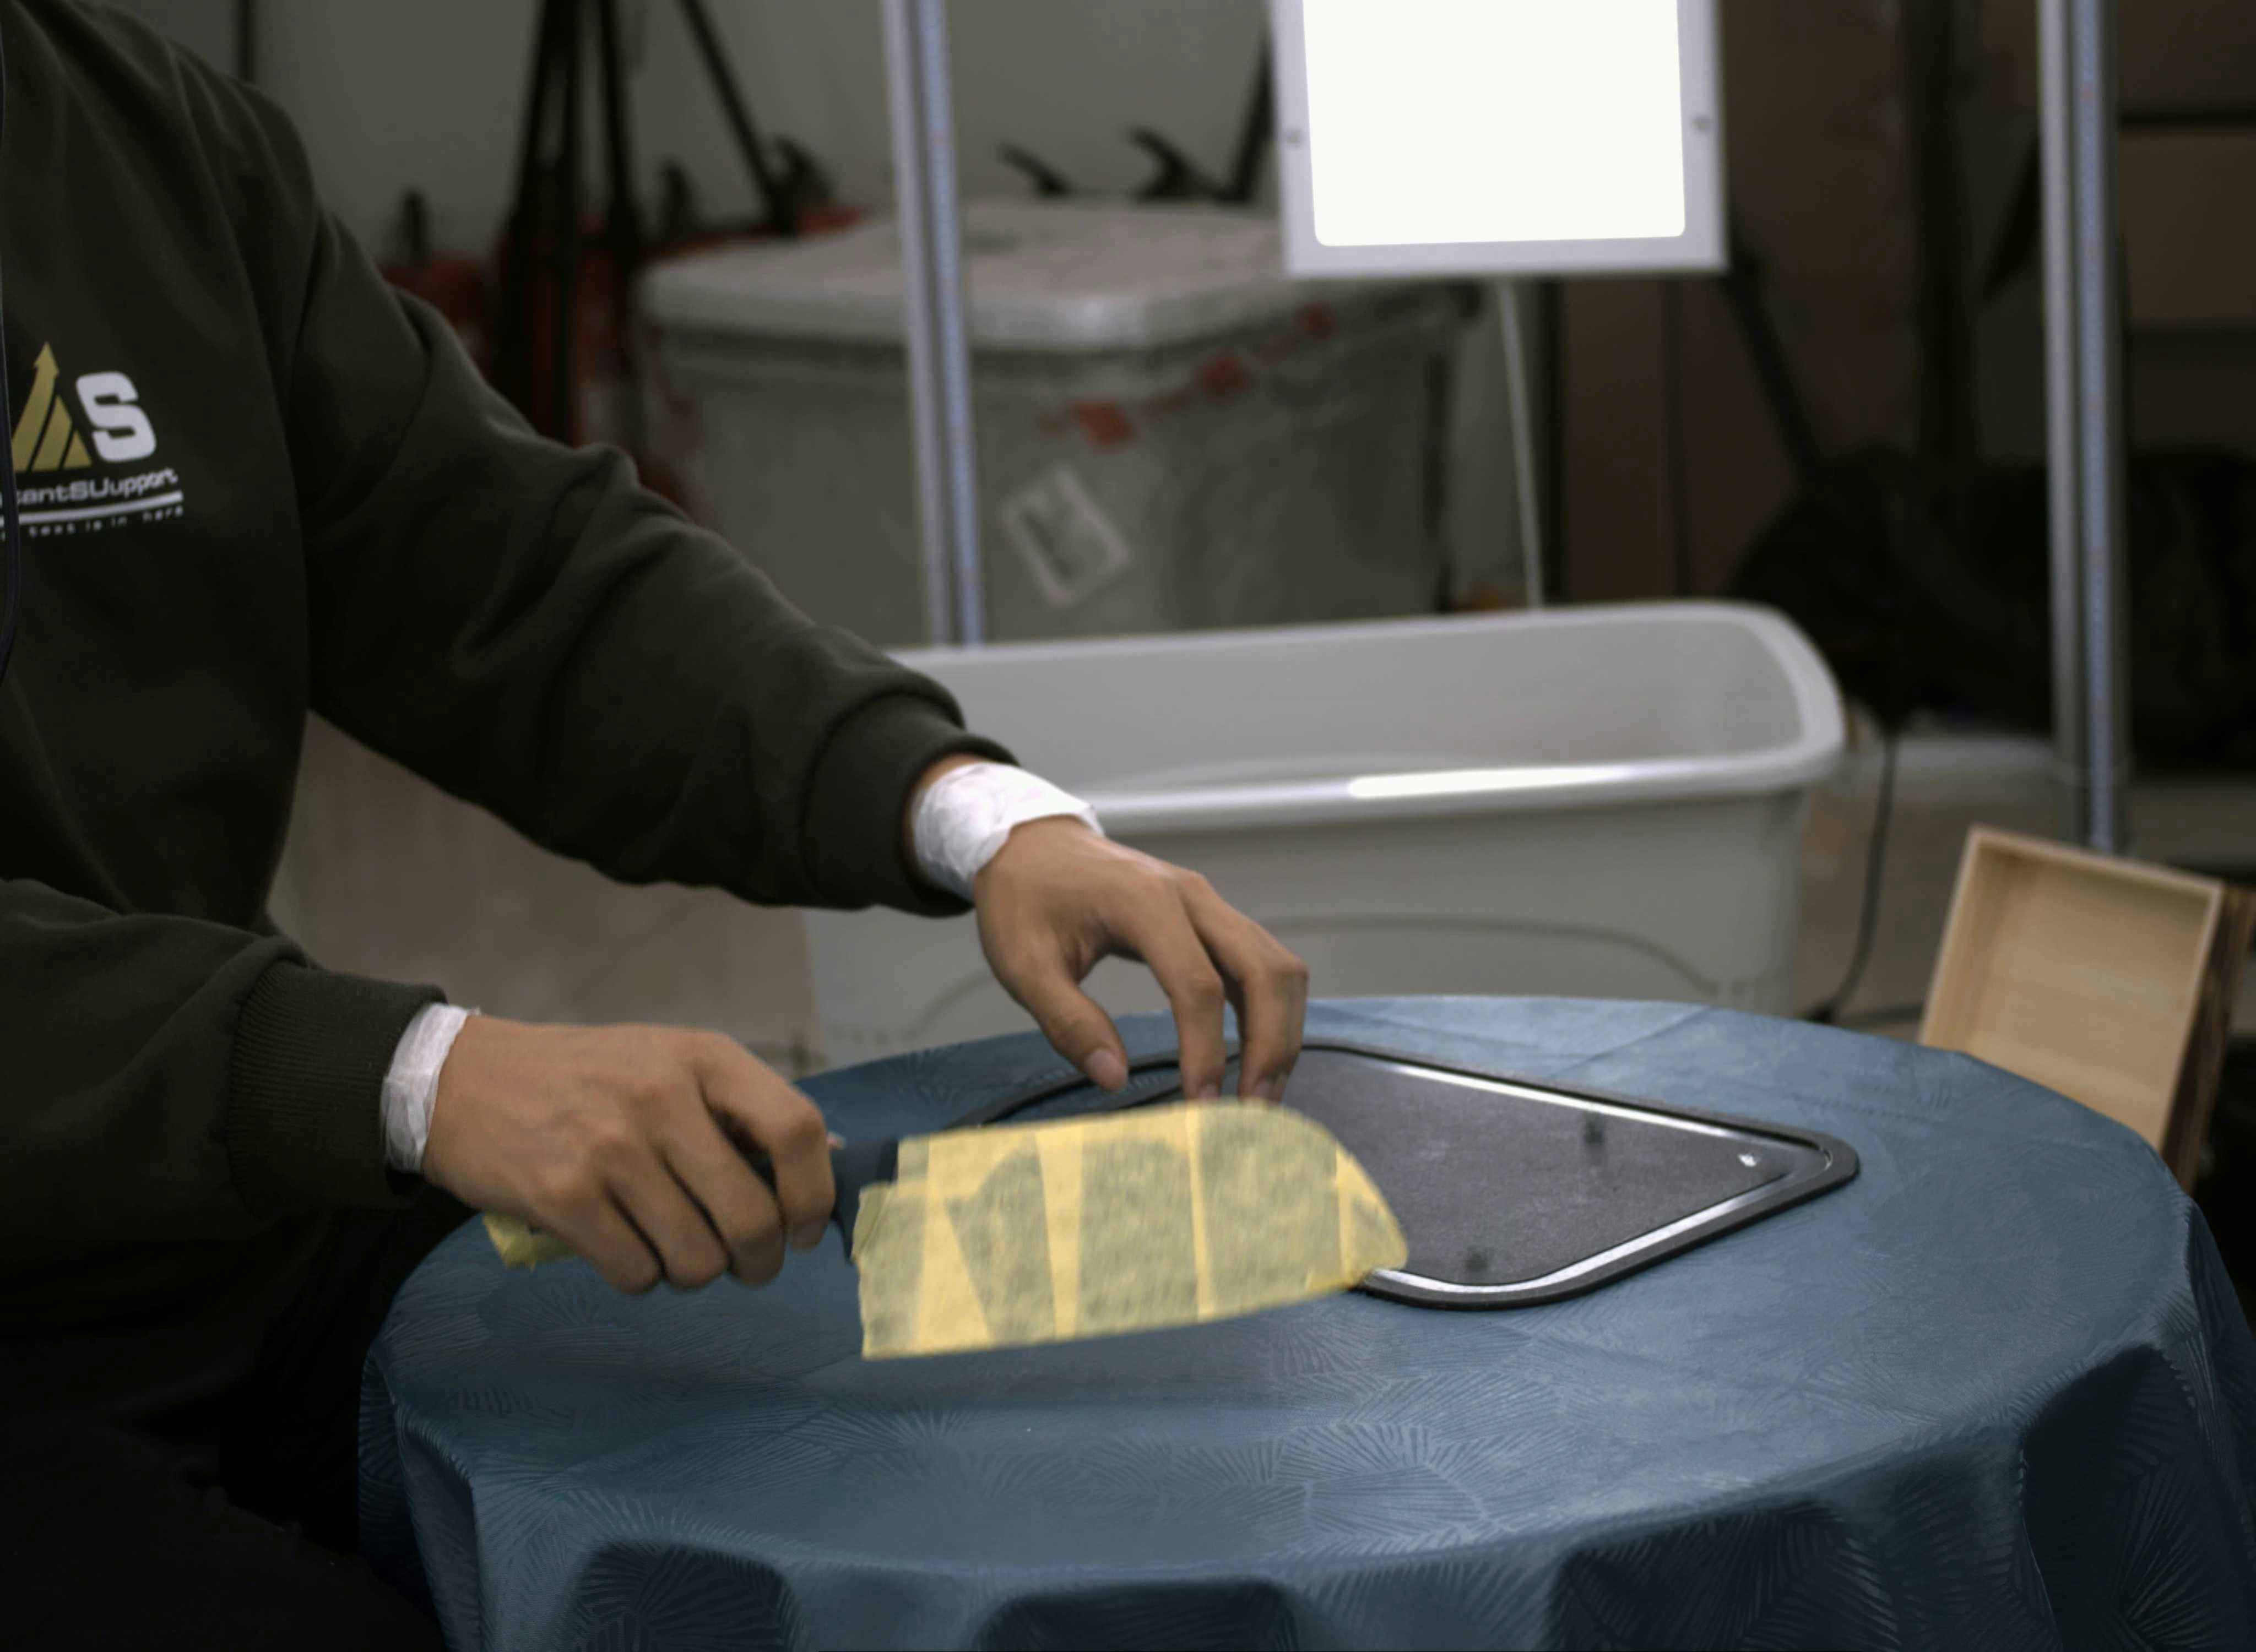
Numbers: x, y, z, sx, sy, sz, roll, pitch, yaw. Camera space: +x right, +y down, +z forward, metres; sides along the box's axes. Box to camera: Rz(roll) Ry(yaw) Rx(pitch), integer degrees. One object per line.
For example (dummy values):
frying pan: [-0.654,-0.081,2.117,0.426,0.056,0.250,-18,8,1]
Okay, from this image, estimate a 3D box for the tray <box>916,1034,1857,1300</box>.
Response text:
tray: [0.080,0.113,1.912,0.206,0.010,0.332,-17,18,-40]

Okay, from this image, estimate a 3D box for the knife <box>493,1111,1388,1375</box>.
knife: [-0.060,0.133,1.721,0.292,0.081,0.027,-6,-30,14]
